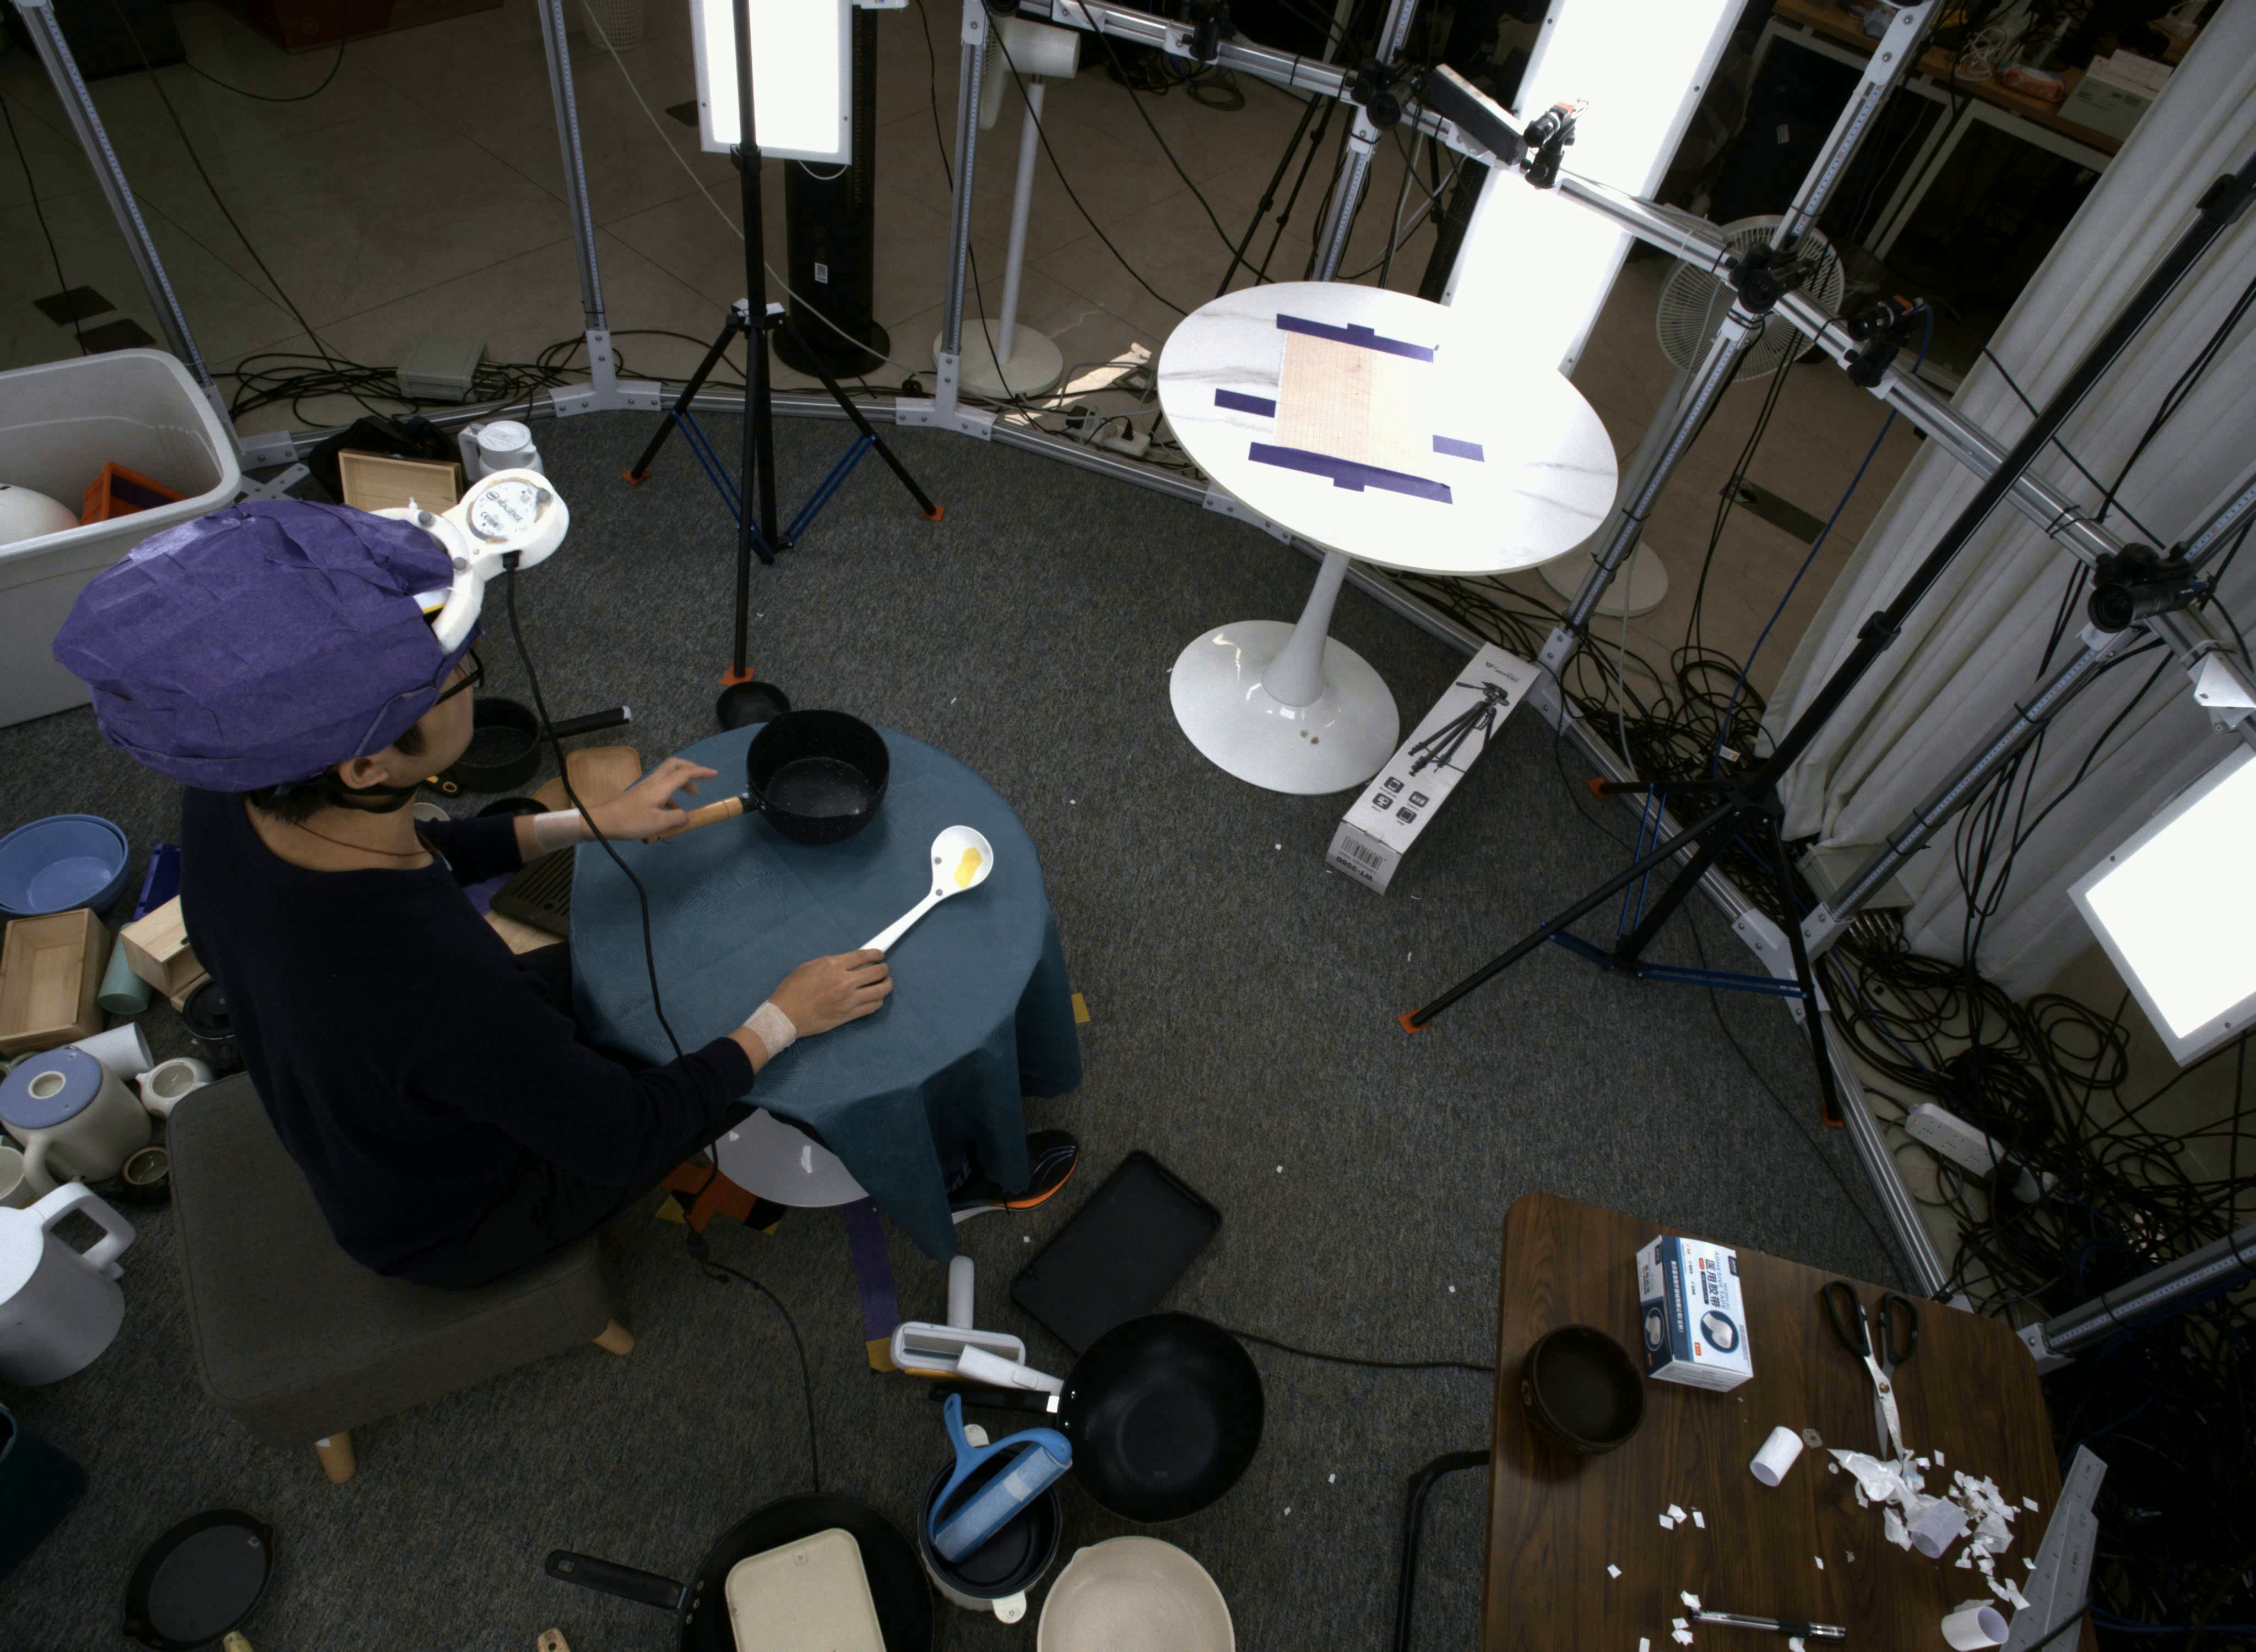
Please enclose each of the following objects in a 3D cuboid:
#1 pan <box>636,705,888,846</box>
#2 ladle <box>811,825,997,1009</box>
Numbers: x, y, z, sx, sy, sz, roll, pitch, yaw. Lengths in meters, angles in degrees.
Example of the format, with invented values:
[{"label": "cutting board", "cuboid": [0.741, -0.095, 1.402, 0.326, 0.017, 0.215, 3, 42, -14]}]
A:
[{"label": "pan", "cuboid": [-0.467, -0.033, 1.657, 0.344, 0.110, 0.203, -30, 67, -33]}, {"label": "ladle", "cuboid": [-0.282, 0.112, 1.632, 0.088, 0.071, 0.293, 36, 55, 17]}]
